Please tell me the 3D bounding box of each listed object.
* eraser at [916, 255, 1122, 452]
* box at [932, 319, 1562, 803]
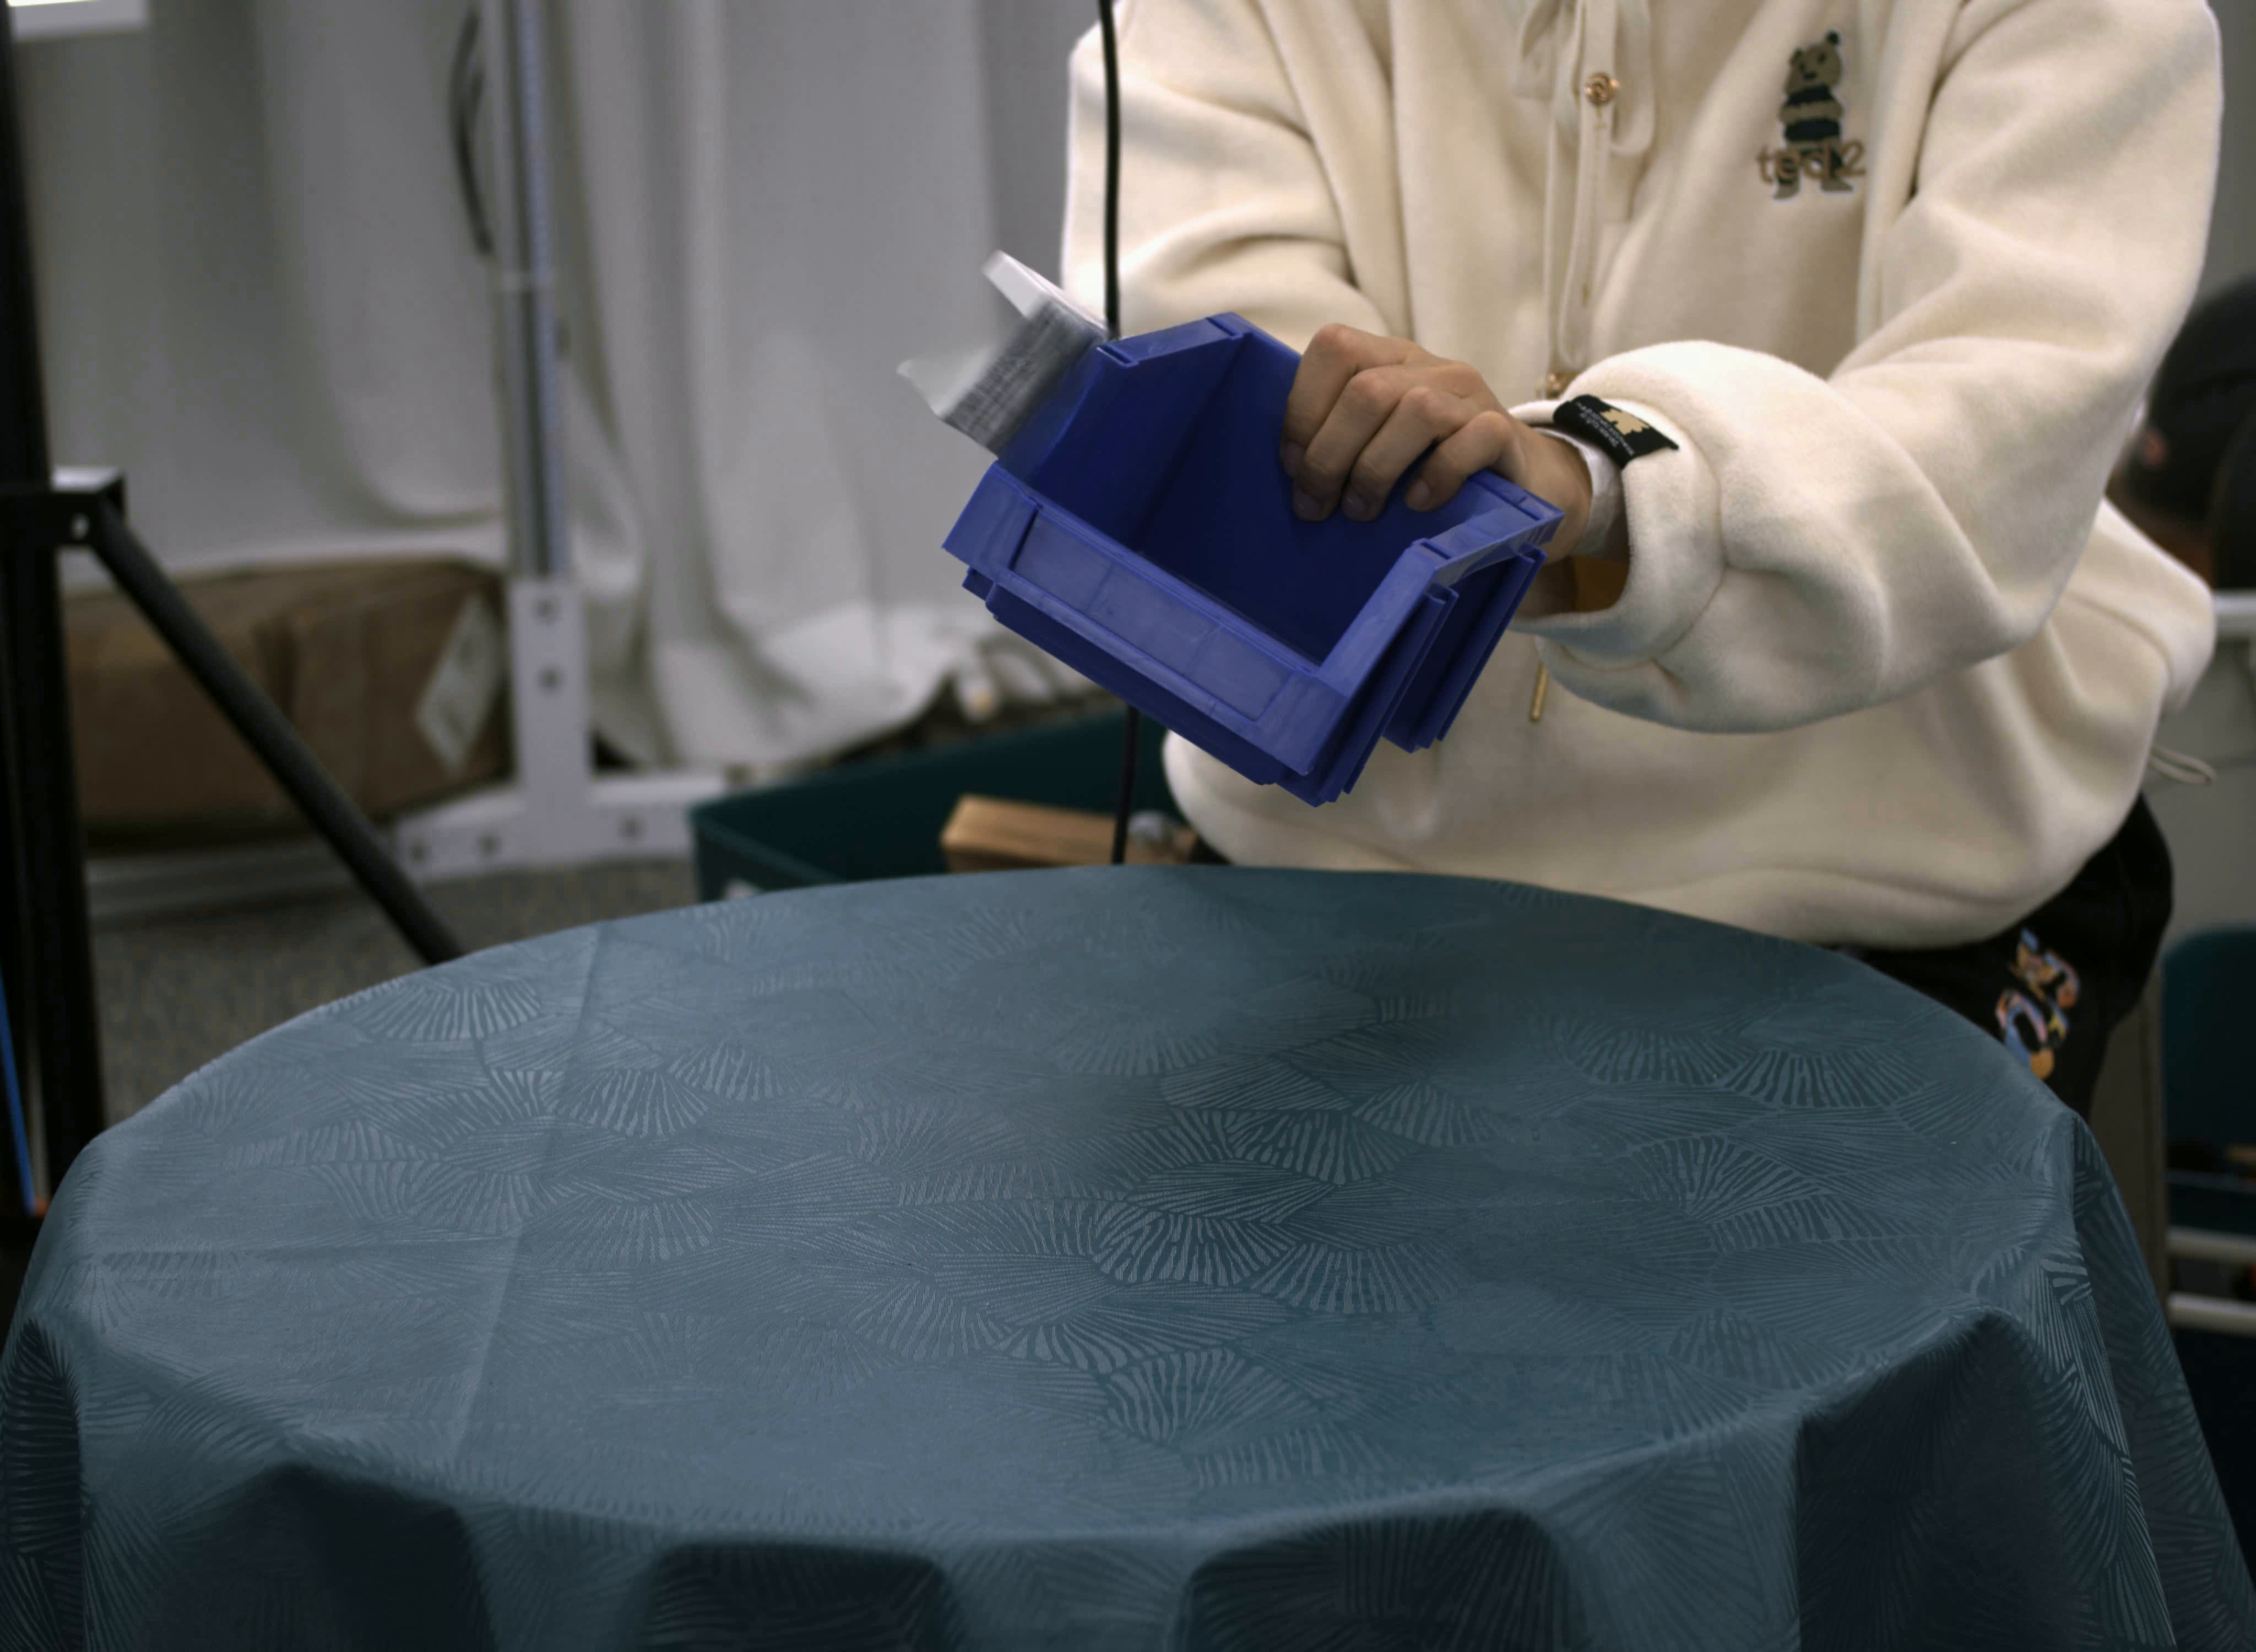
[{"bbox_3d":[-0.008,-0.121,1.619,0.047,0.050,0.131,46,7,27],"label":"eraser"},{"bbox_3d":[0.035,-0.075,1.507,0.125,0.082,0.177,33,15,13],"label":"box"}]
